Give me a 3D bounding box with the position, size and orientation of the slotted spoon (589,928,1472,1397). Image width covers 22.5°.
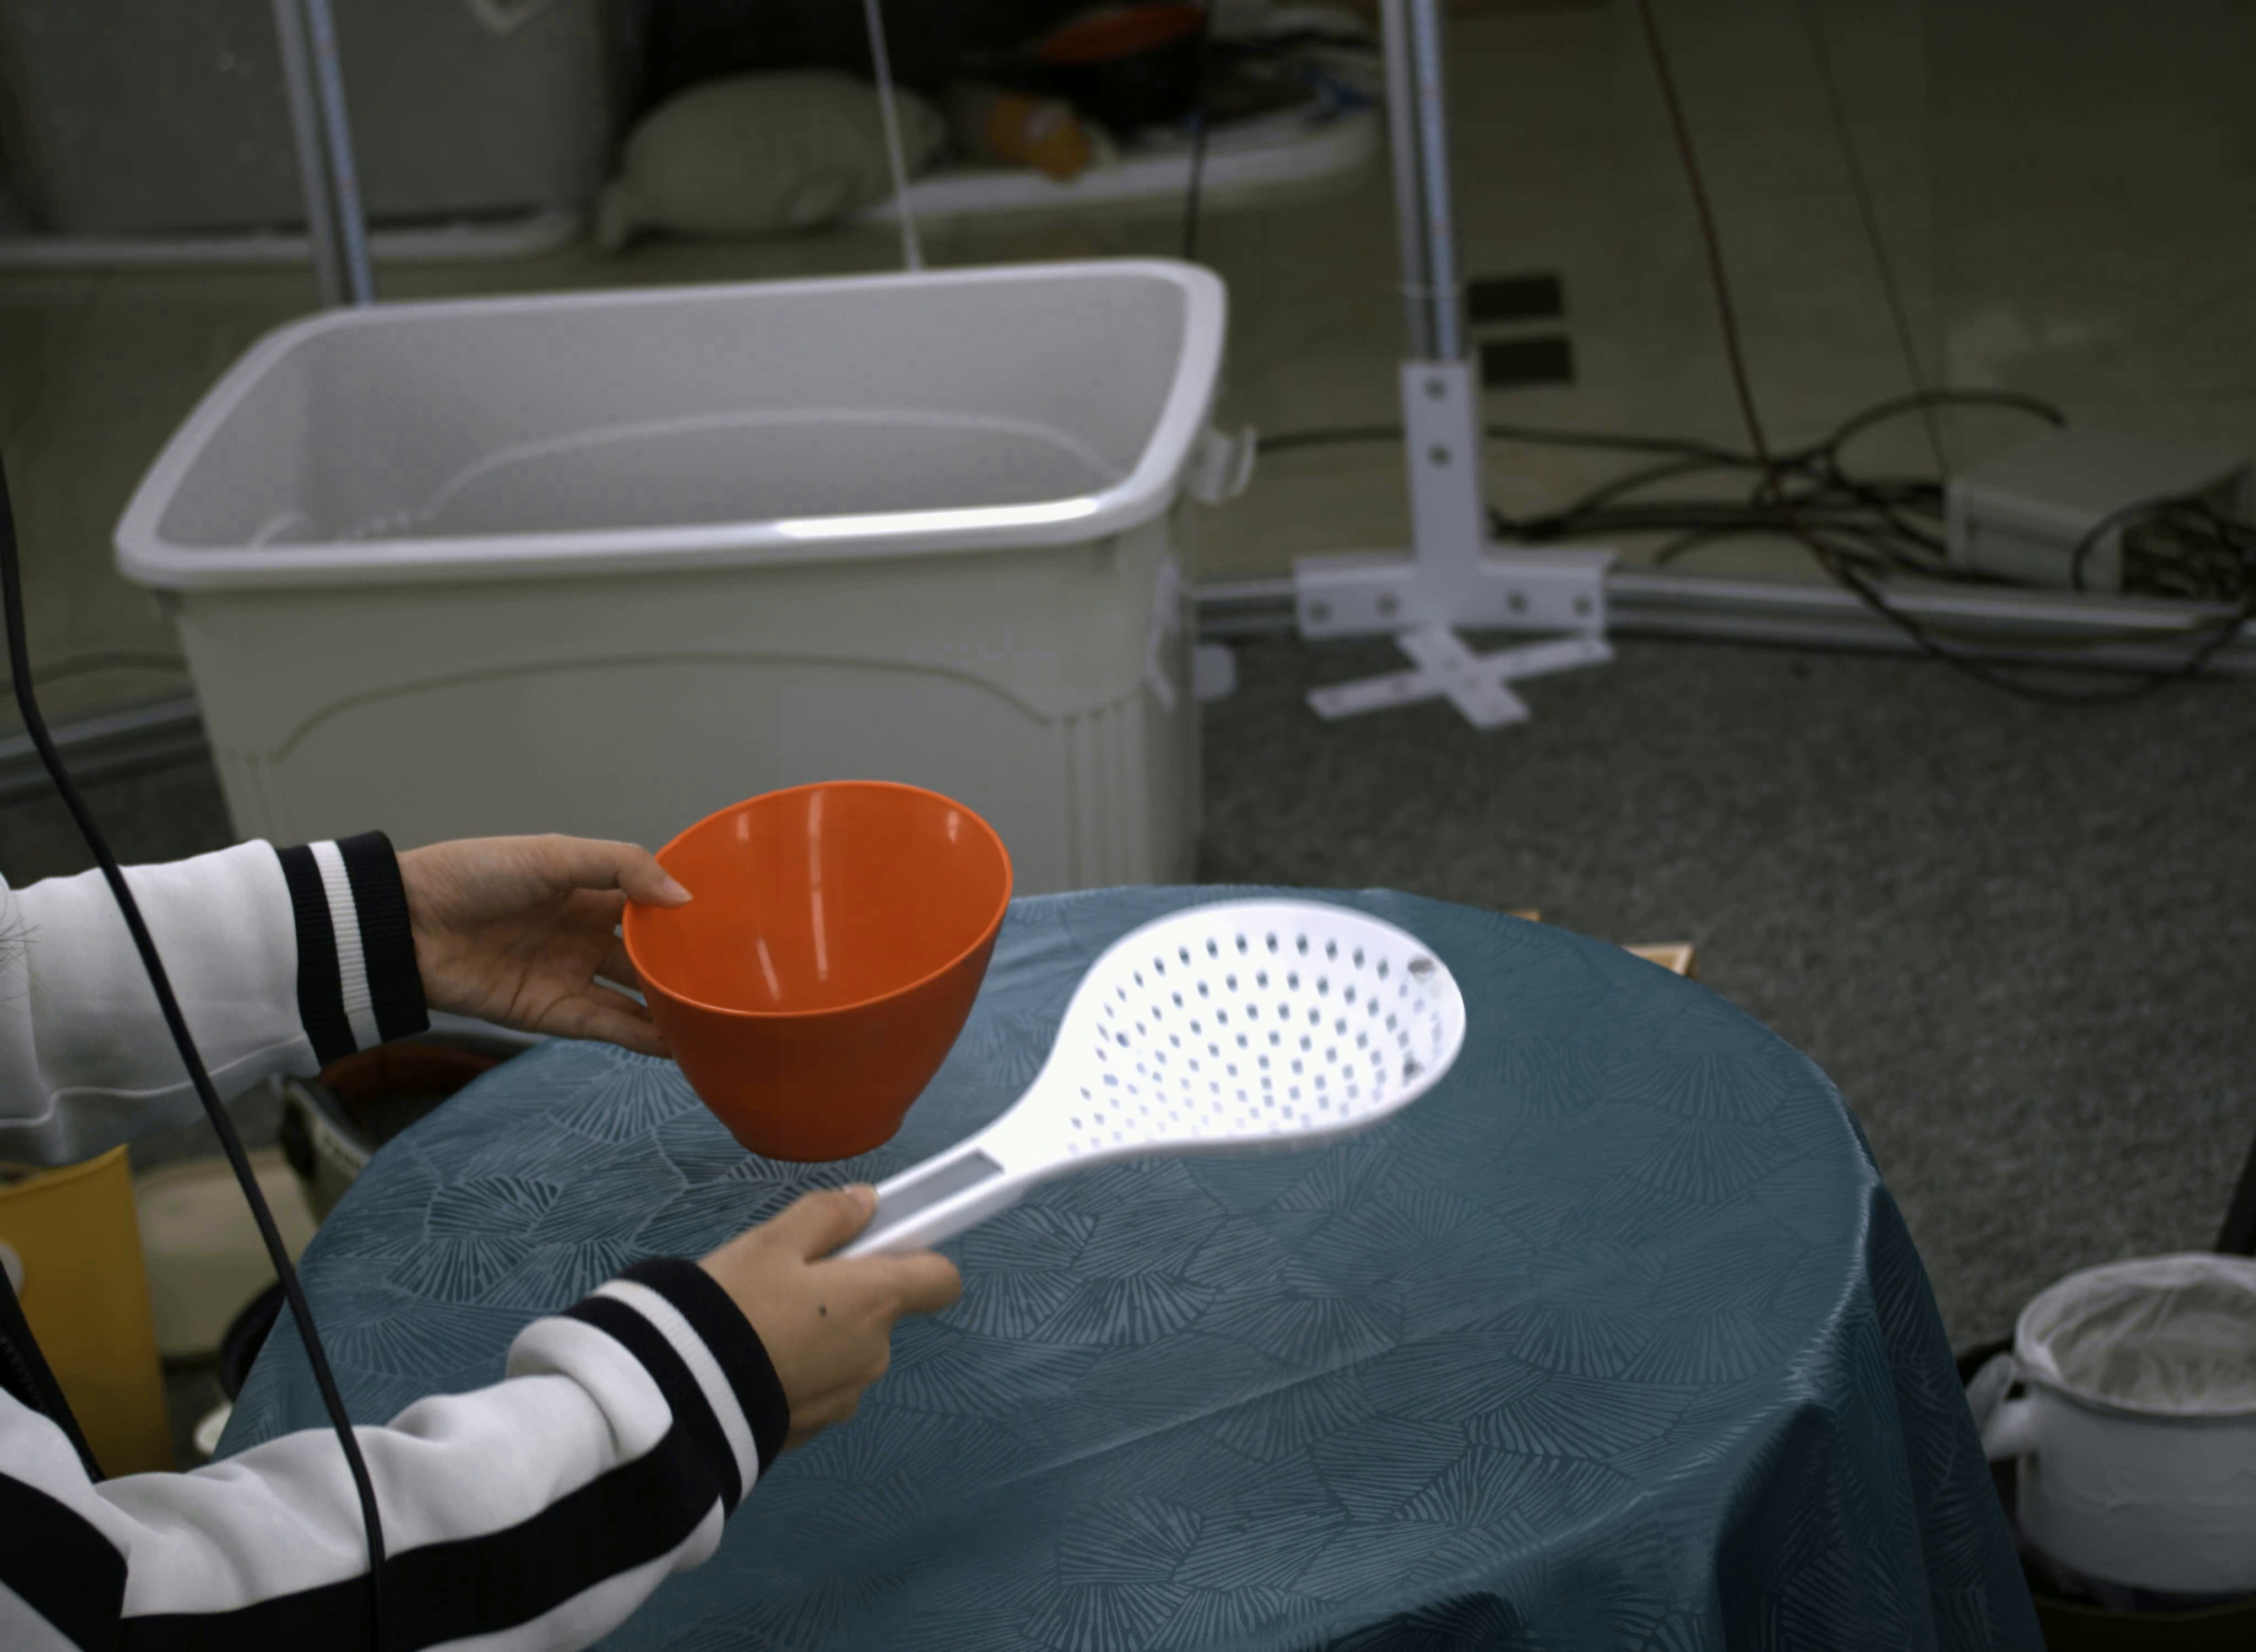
[{"bbox_3d":[-0.032,0.117,1.926,0.347,0.046,0.134,-19,38,-34],"label":"slotted spoon"}]

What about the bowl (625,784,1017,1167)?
[{"bbox_3d":[-0.115,0.063,2.143,0.148,0.106,0.145,0,29,0],"label":"bowl"}]
